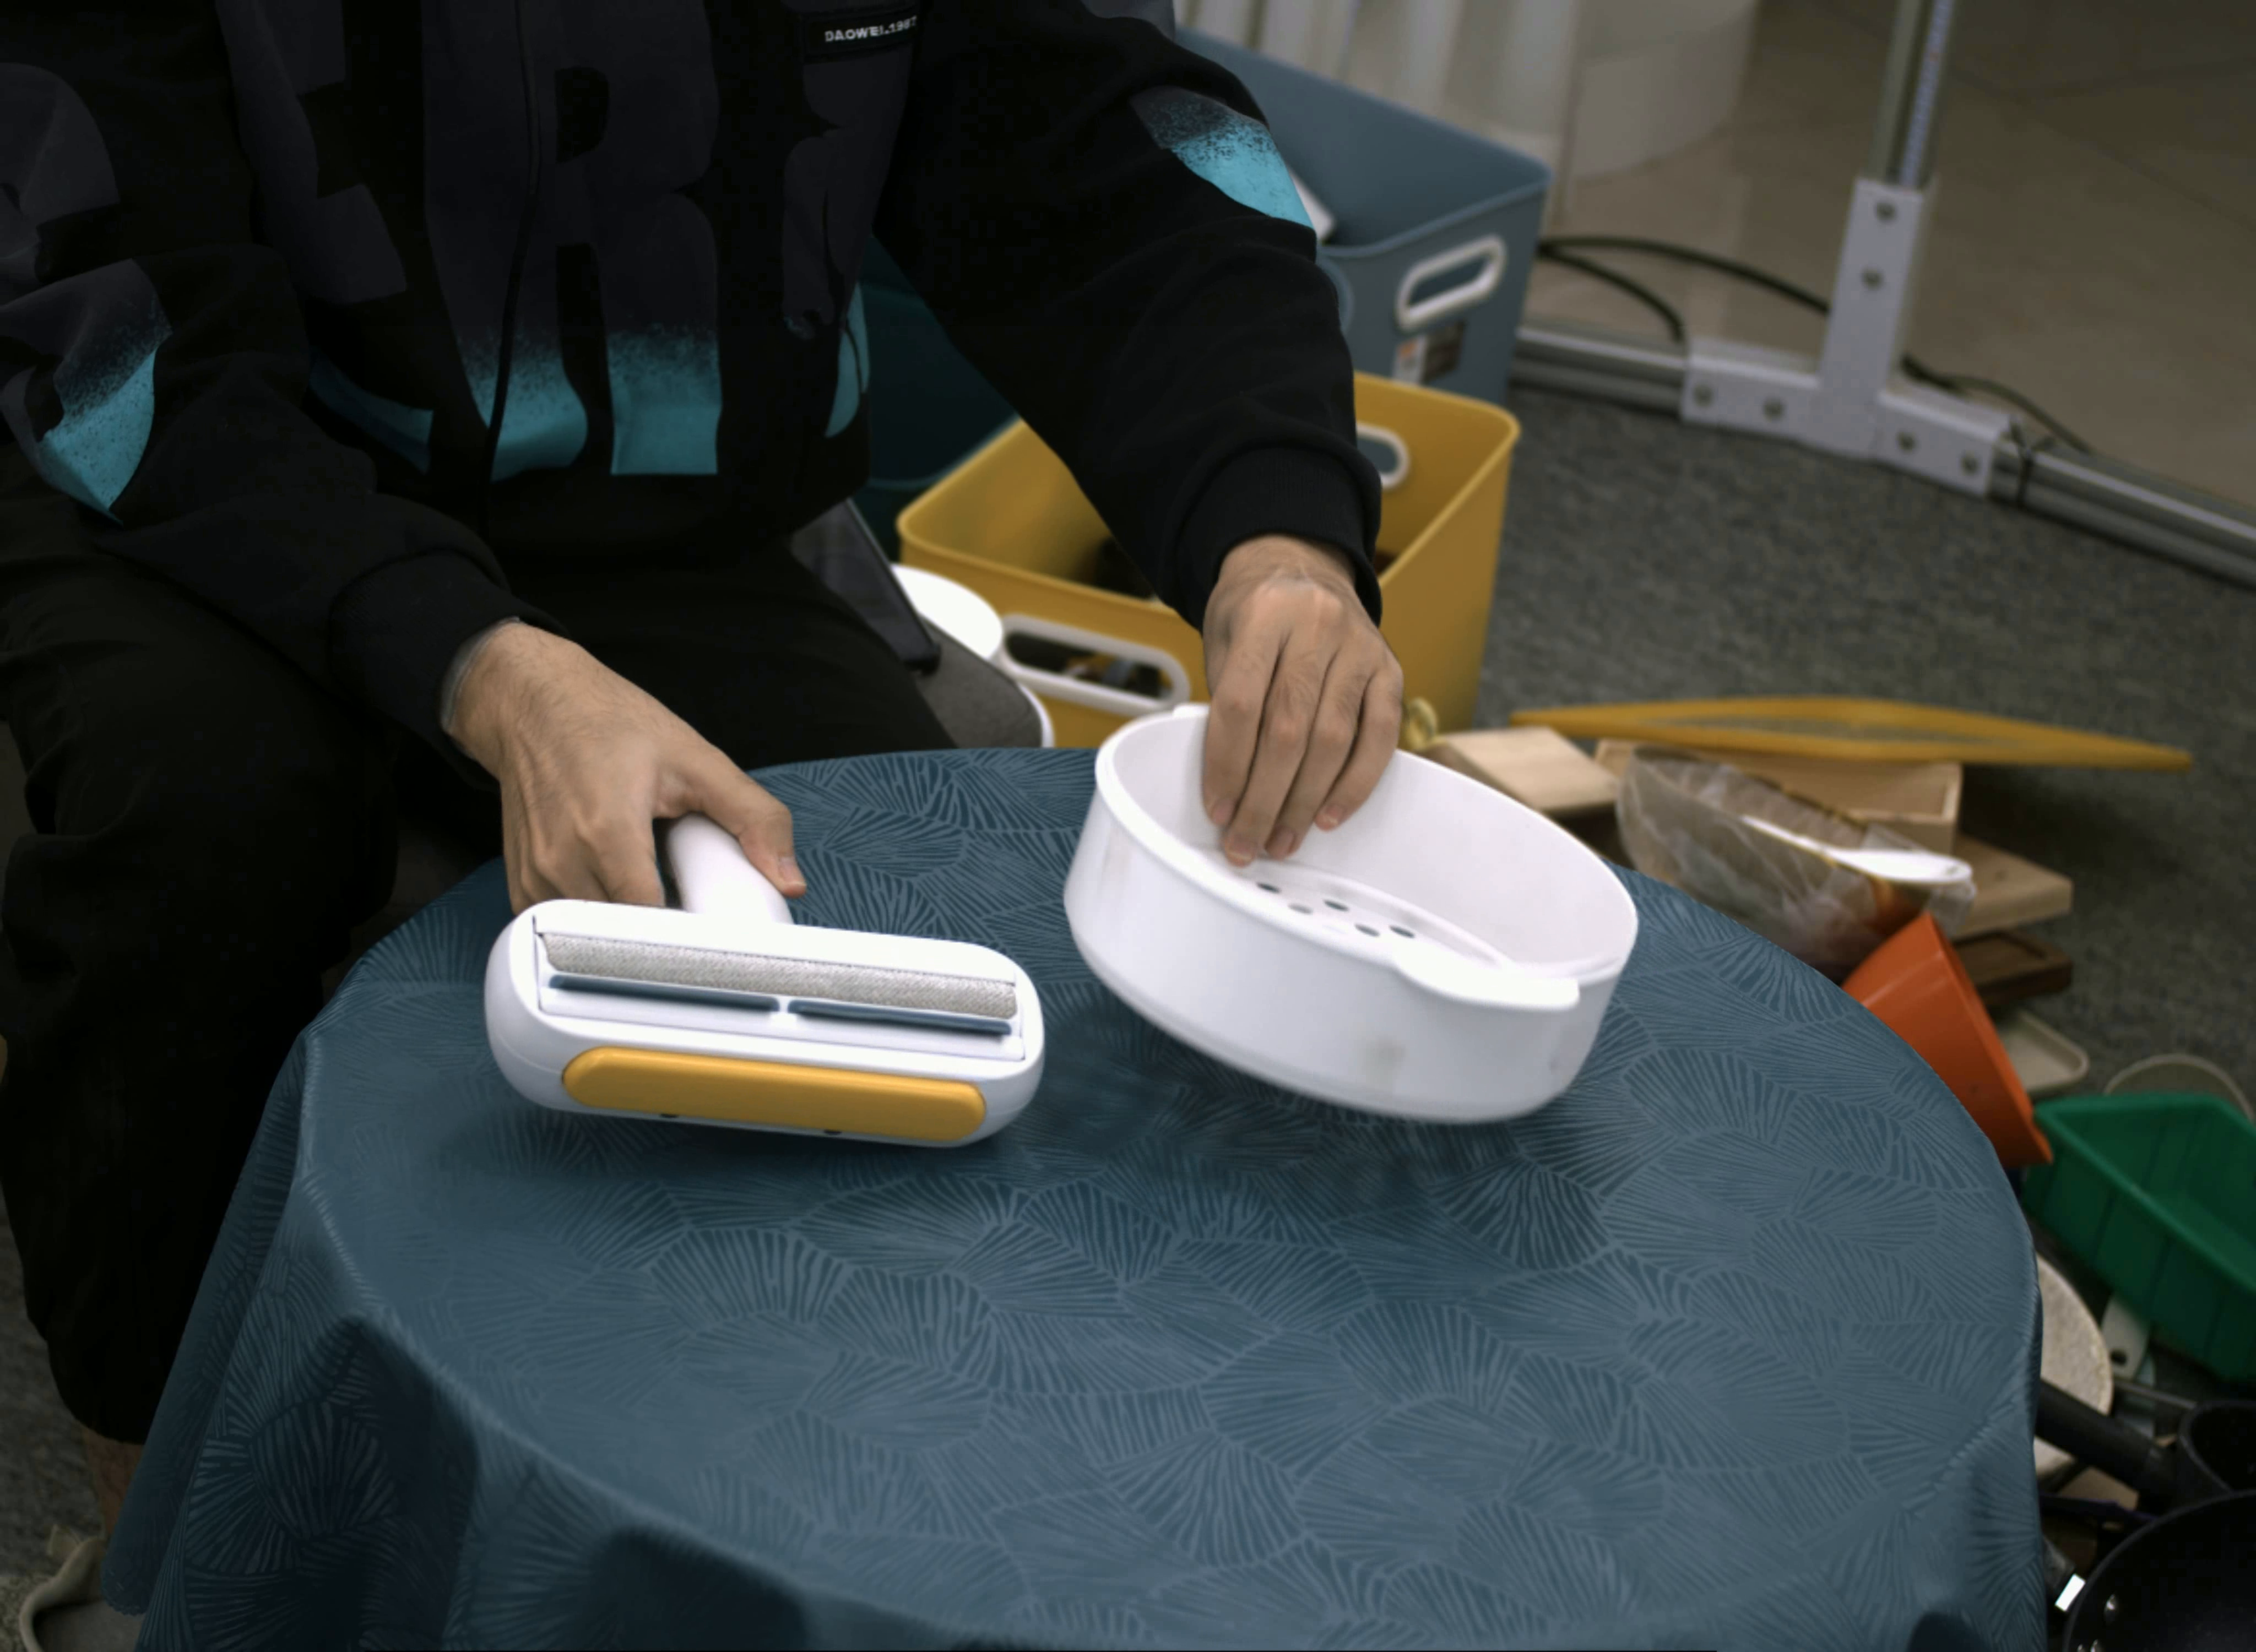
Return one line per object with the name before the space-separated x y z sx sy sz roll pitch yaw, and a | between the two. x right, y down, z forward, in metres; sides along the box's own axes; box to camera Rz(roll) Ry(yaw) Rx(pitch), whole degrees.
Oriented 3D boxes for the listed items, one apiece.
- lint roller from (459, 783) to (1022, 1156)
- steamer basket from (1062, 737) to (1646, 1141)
lint roller | -0.138 0.036 1.841 0.192 0.074 0.194 6 38 -12
steamer basket | 0.077 0.041 1.860 0.200 0.069 0.232 8 20 -28
